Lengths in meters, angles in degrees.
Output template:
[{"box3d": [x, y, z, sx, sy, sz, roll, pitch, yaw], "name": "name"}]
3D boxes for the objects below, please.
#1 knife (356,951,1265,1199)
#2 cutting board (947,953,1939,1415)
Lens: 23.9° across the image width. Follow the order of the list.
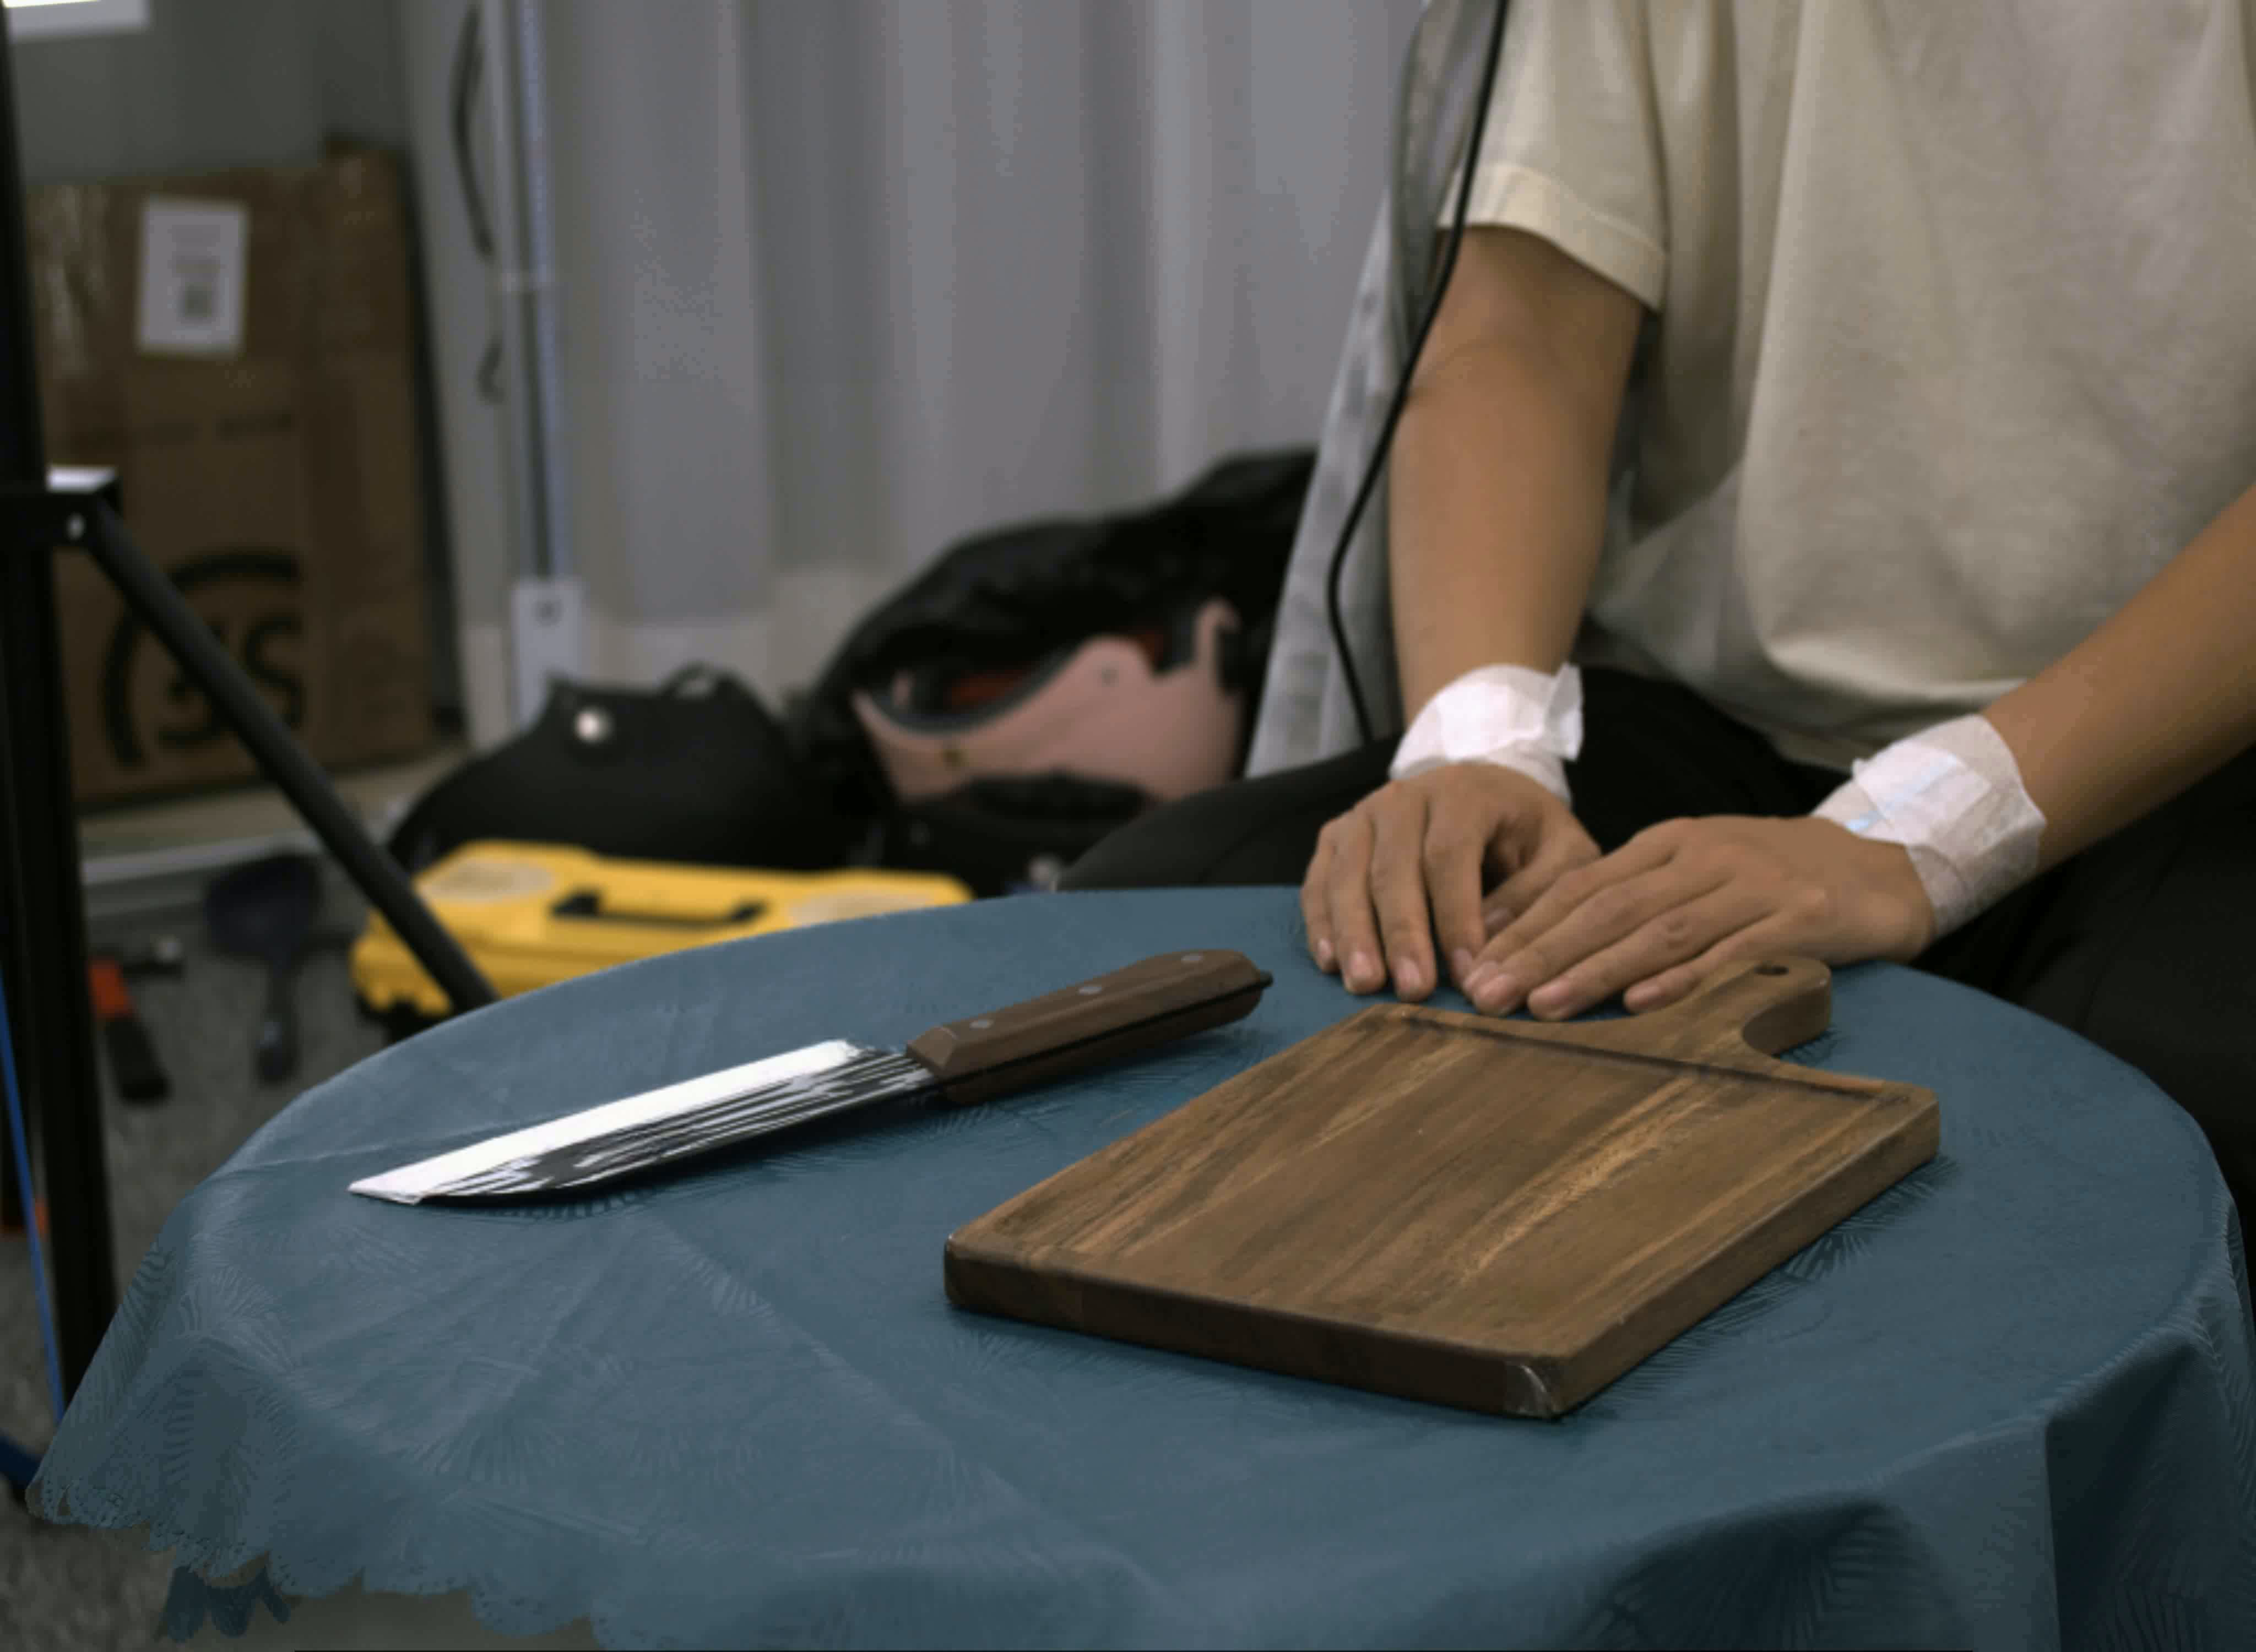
[{"box3d": [-0.094, 0.079, 1.641, 0.293, 0.024, 0.069, -14, 16, -29], "name": "knife"}, {"box3d": [0.121, 0.093, 1.552, 0.205, 0.023, 0.345, 8, 18, 32], "name": "cutting board"}]
